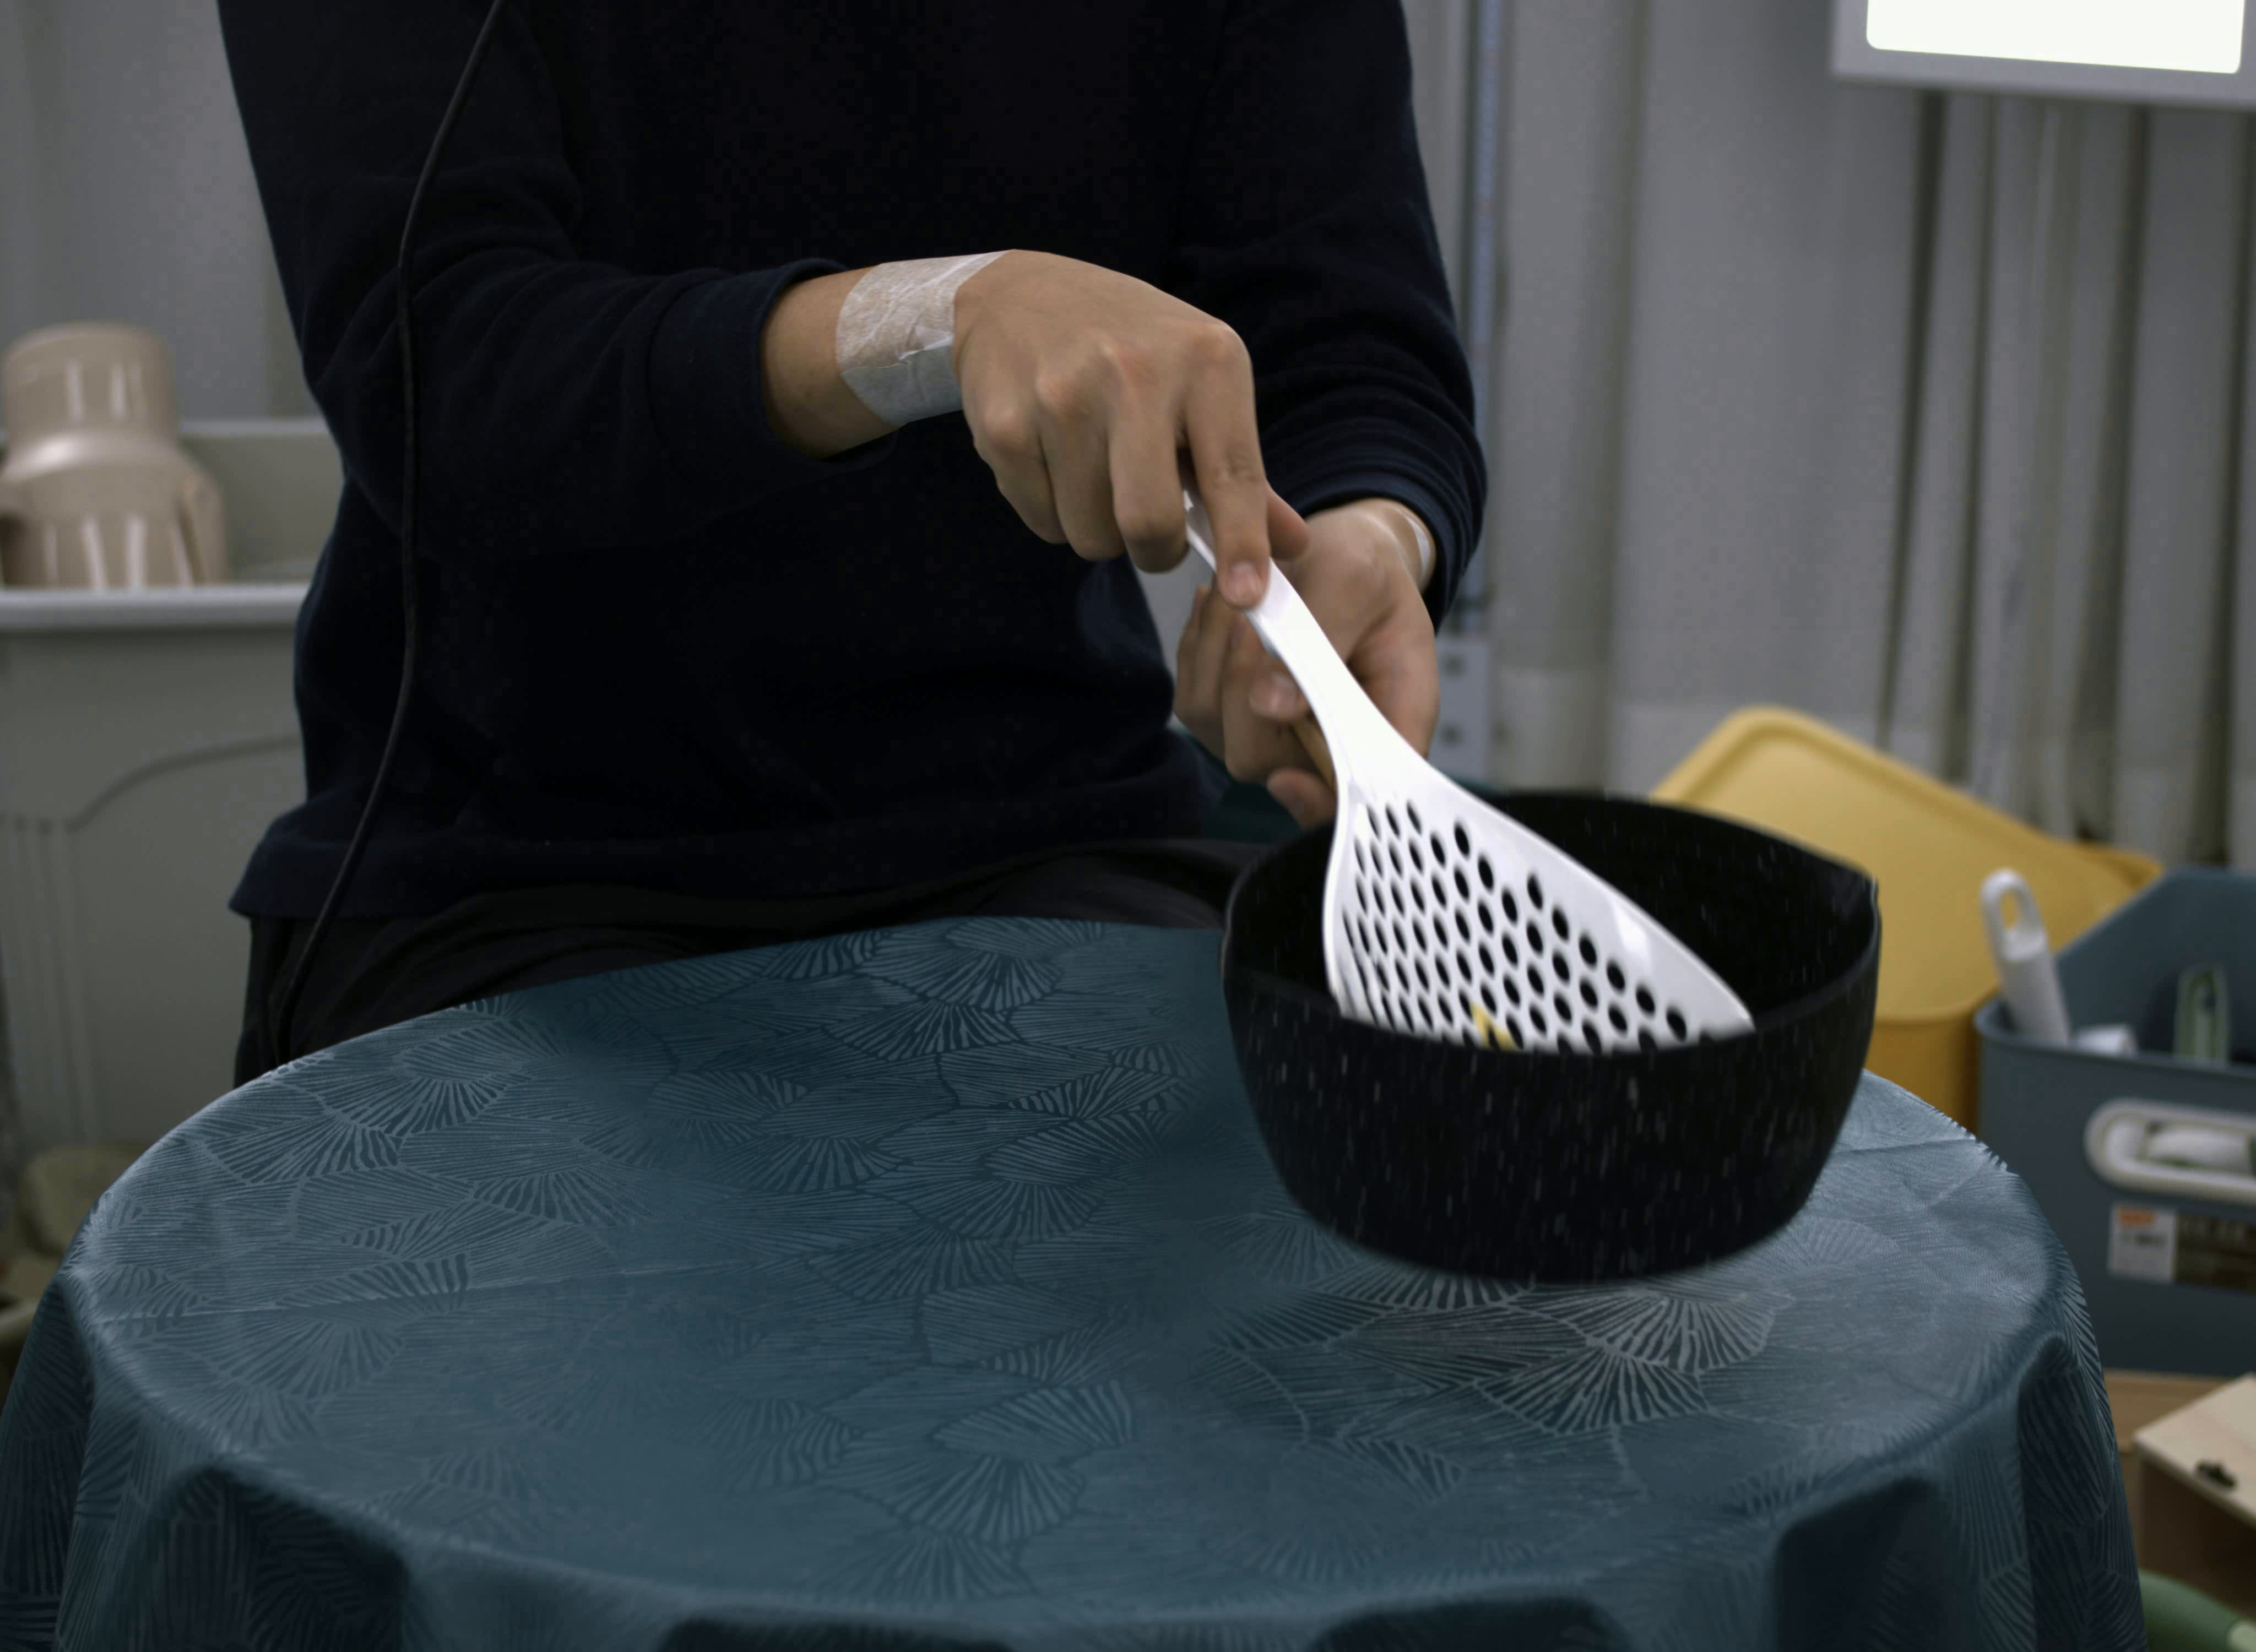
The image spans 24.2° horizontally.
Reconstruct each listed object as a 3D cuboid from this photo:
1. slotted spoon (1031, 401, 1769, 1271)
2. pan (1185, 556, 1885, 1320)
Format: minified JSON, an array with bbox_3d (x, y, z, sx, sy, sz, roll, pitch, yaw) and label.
[{"bbox_3d":[0.069,-0.007,1.532,0.137,0.050,0.345,-14,63,-34],"label":"slotted spoon"},{"bbox_3d":[0.092,0.028,1.555,0.208,0.109,0.338,-9,26,-19],"label":"pan"}]
